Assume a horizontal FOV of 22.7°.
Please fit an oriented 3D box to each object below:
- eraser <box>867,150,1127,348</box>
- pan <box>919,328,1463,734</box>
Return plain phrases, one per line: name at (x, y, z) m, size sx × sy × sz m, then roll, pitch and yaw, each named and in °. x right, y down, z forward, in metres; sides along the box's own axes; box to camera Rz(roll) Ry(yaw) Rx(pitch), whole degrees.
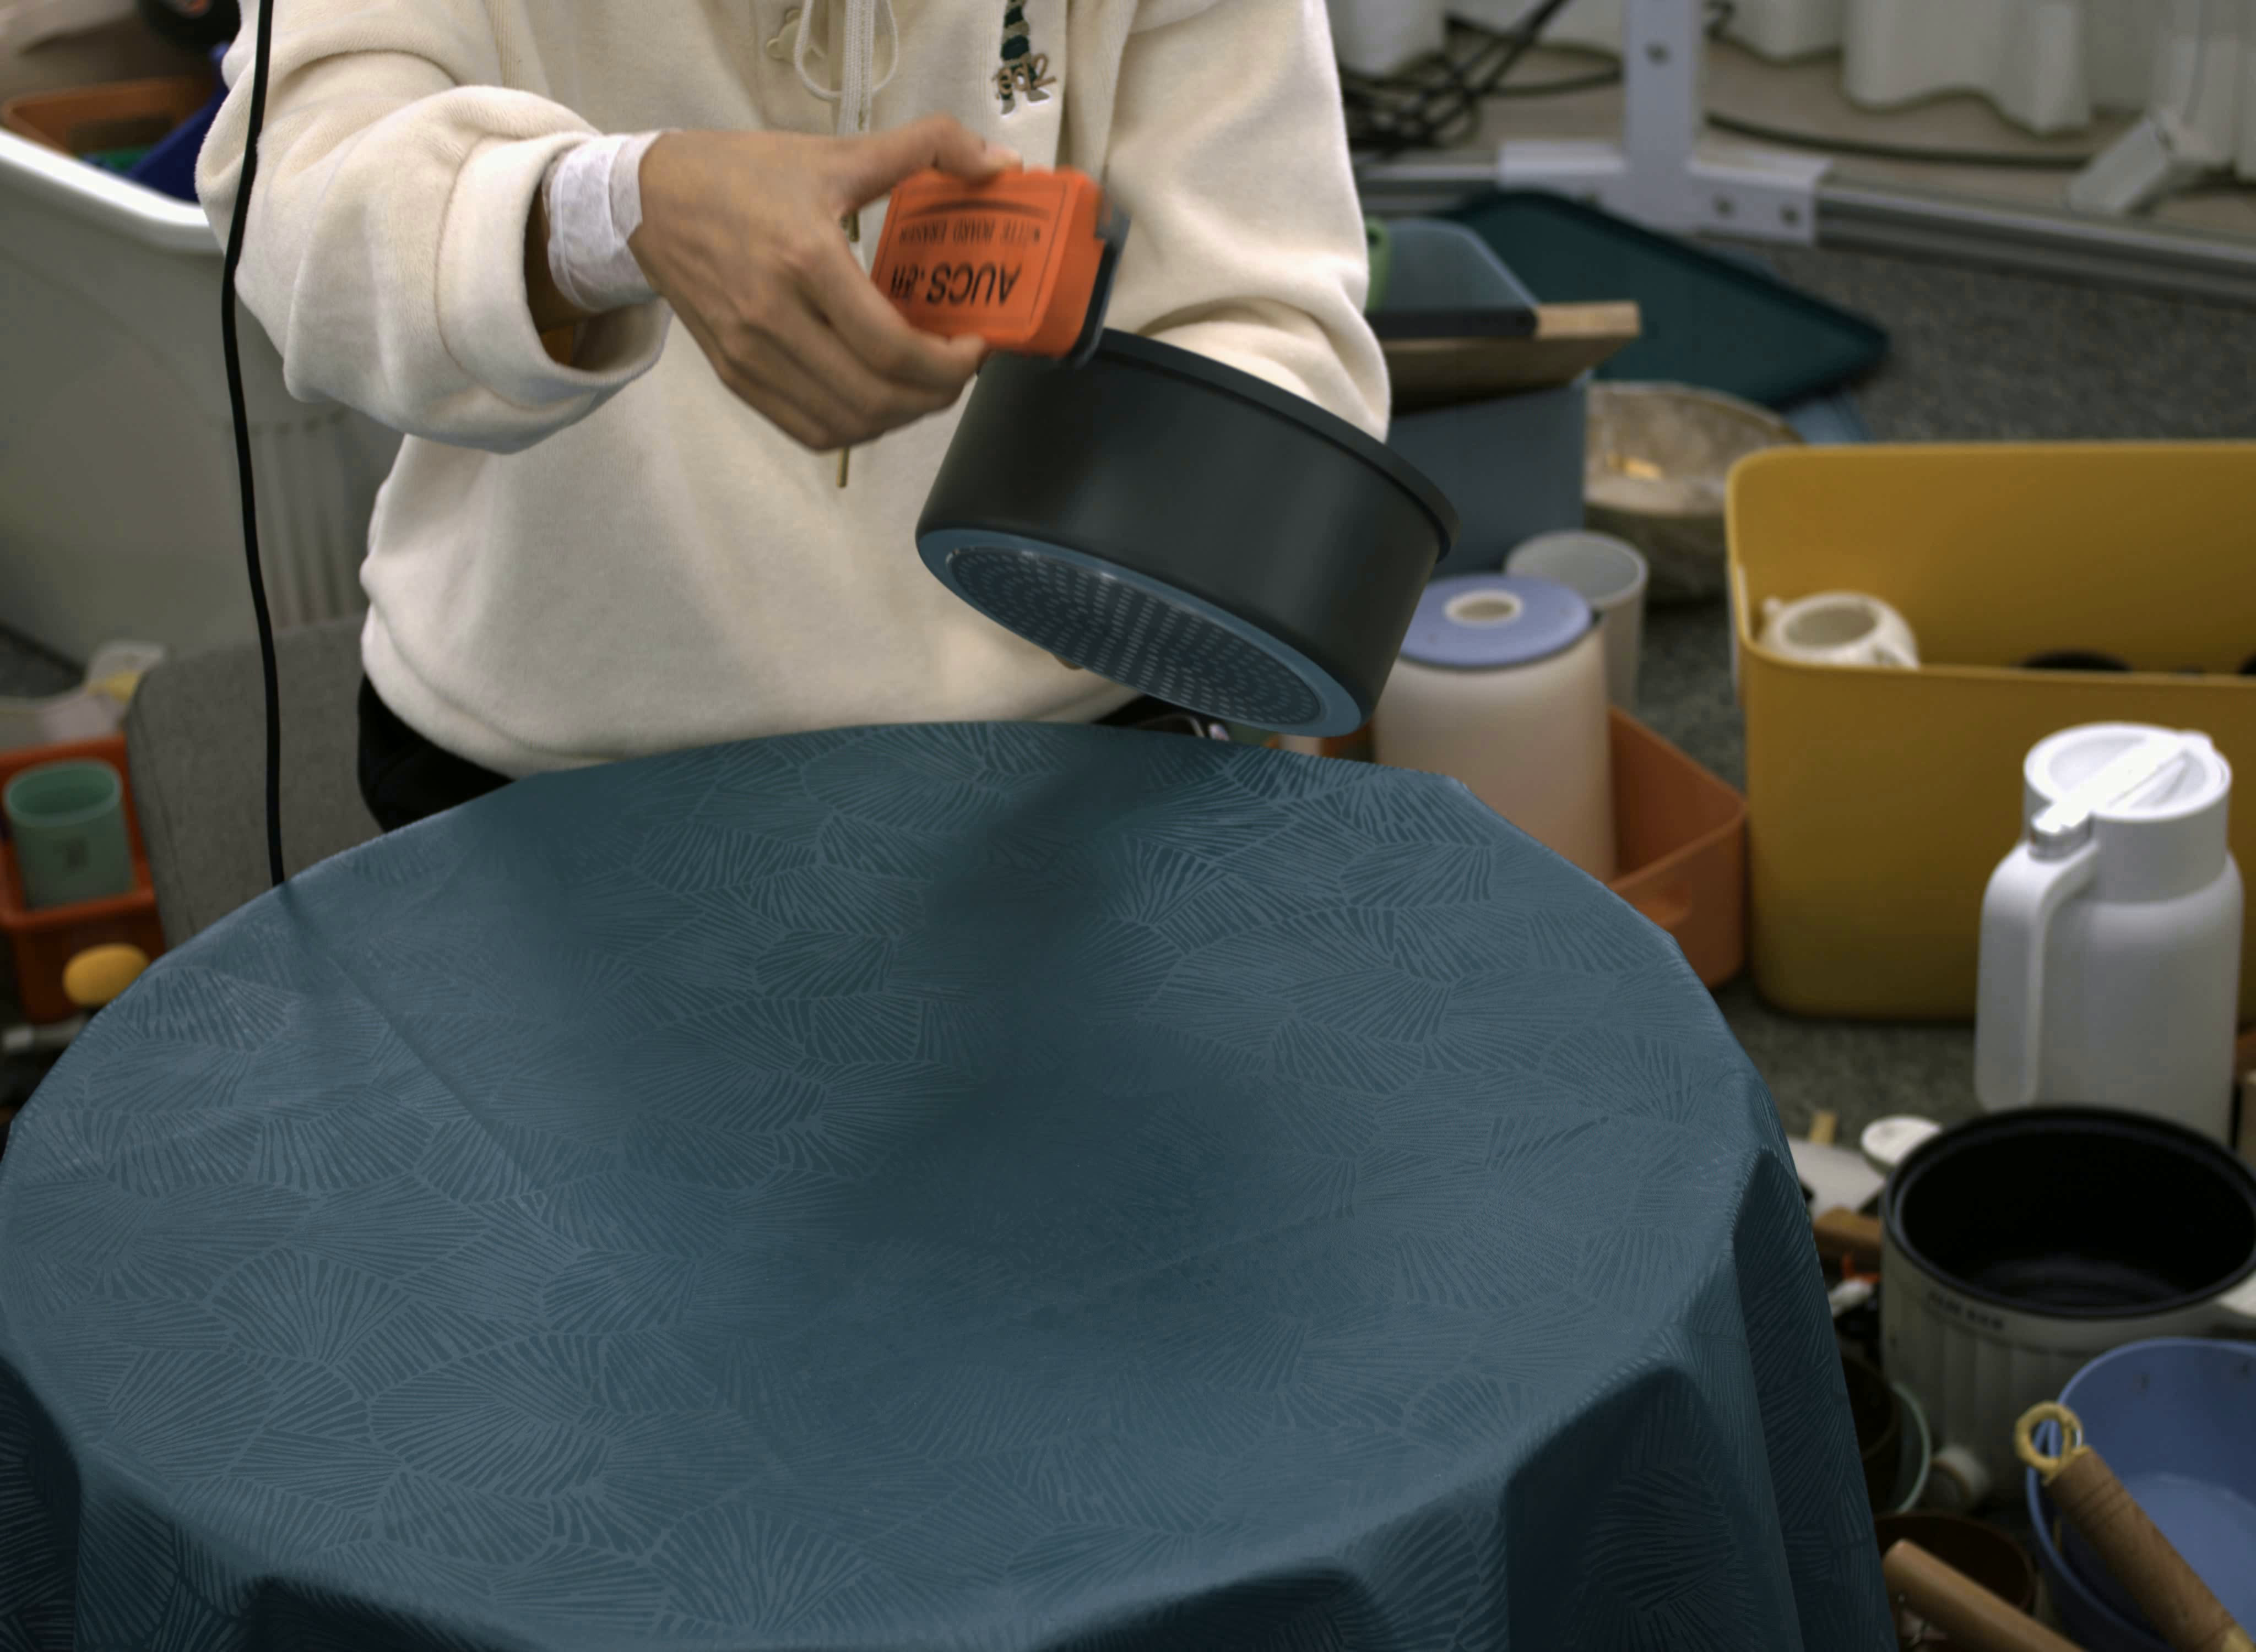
eraser at (-0.042, -0.182, 1.779) m, size 0.023 × 0.059 × 0.107 m, roll 16°, pitch -4°, yaw -34°
pan at (0.004, -0.088, 1.937) m, size 0.171 × 0.087 × 0.326 m, roll 24°, pitch -10°, yaw -6°
